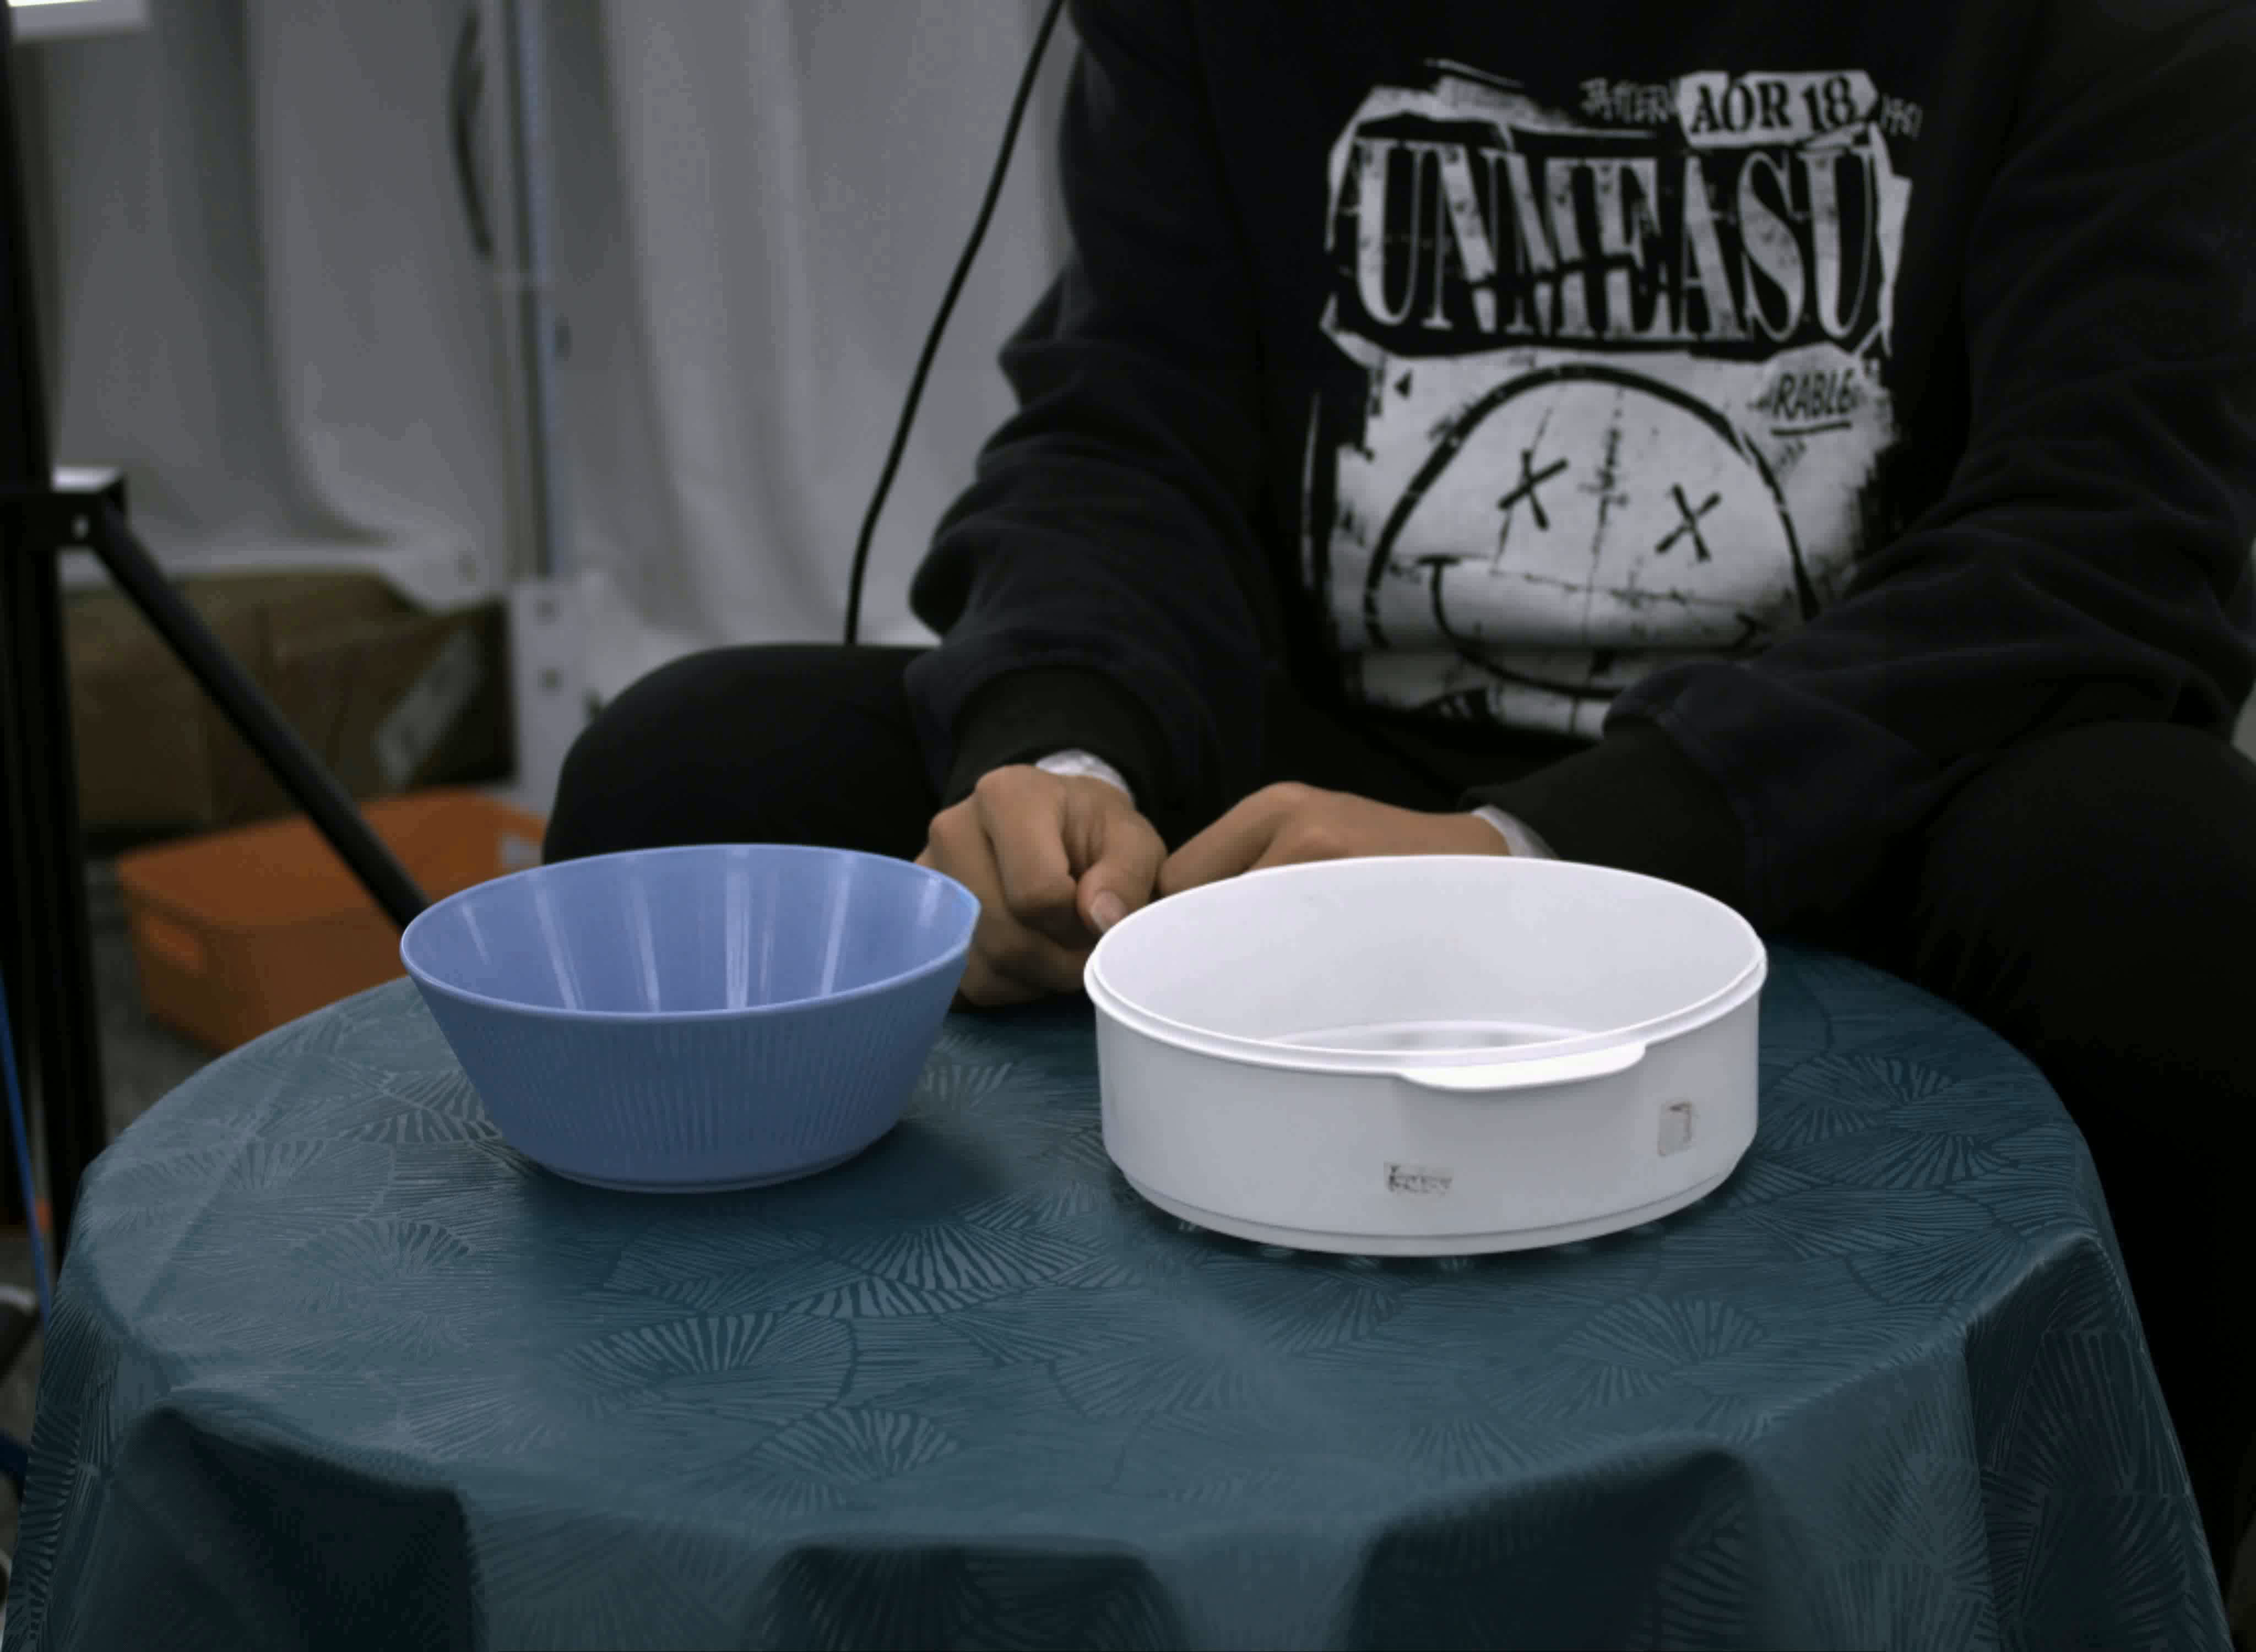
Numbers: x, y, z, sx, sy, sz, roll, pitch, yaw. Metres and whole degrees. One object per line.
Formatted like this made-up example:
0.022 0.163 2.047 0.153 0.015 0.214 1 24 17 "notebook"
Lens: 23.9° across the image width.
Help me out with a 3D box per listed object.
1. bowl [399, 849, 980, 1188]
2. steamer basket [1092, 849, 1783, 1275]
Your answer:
-0.132 0.060 1.618 0.175 0.070 0.177 -2 16 -1 "bowl"
0.091 0.069 1.556 0.199 0.069 0.234 -6 18 -12 "steamer basket"
